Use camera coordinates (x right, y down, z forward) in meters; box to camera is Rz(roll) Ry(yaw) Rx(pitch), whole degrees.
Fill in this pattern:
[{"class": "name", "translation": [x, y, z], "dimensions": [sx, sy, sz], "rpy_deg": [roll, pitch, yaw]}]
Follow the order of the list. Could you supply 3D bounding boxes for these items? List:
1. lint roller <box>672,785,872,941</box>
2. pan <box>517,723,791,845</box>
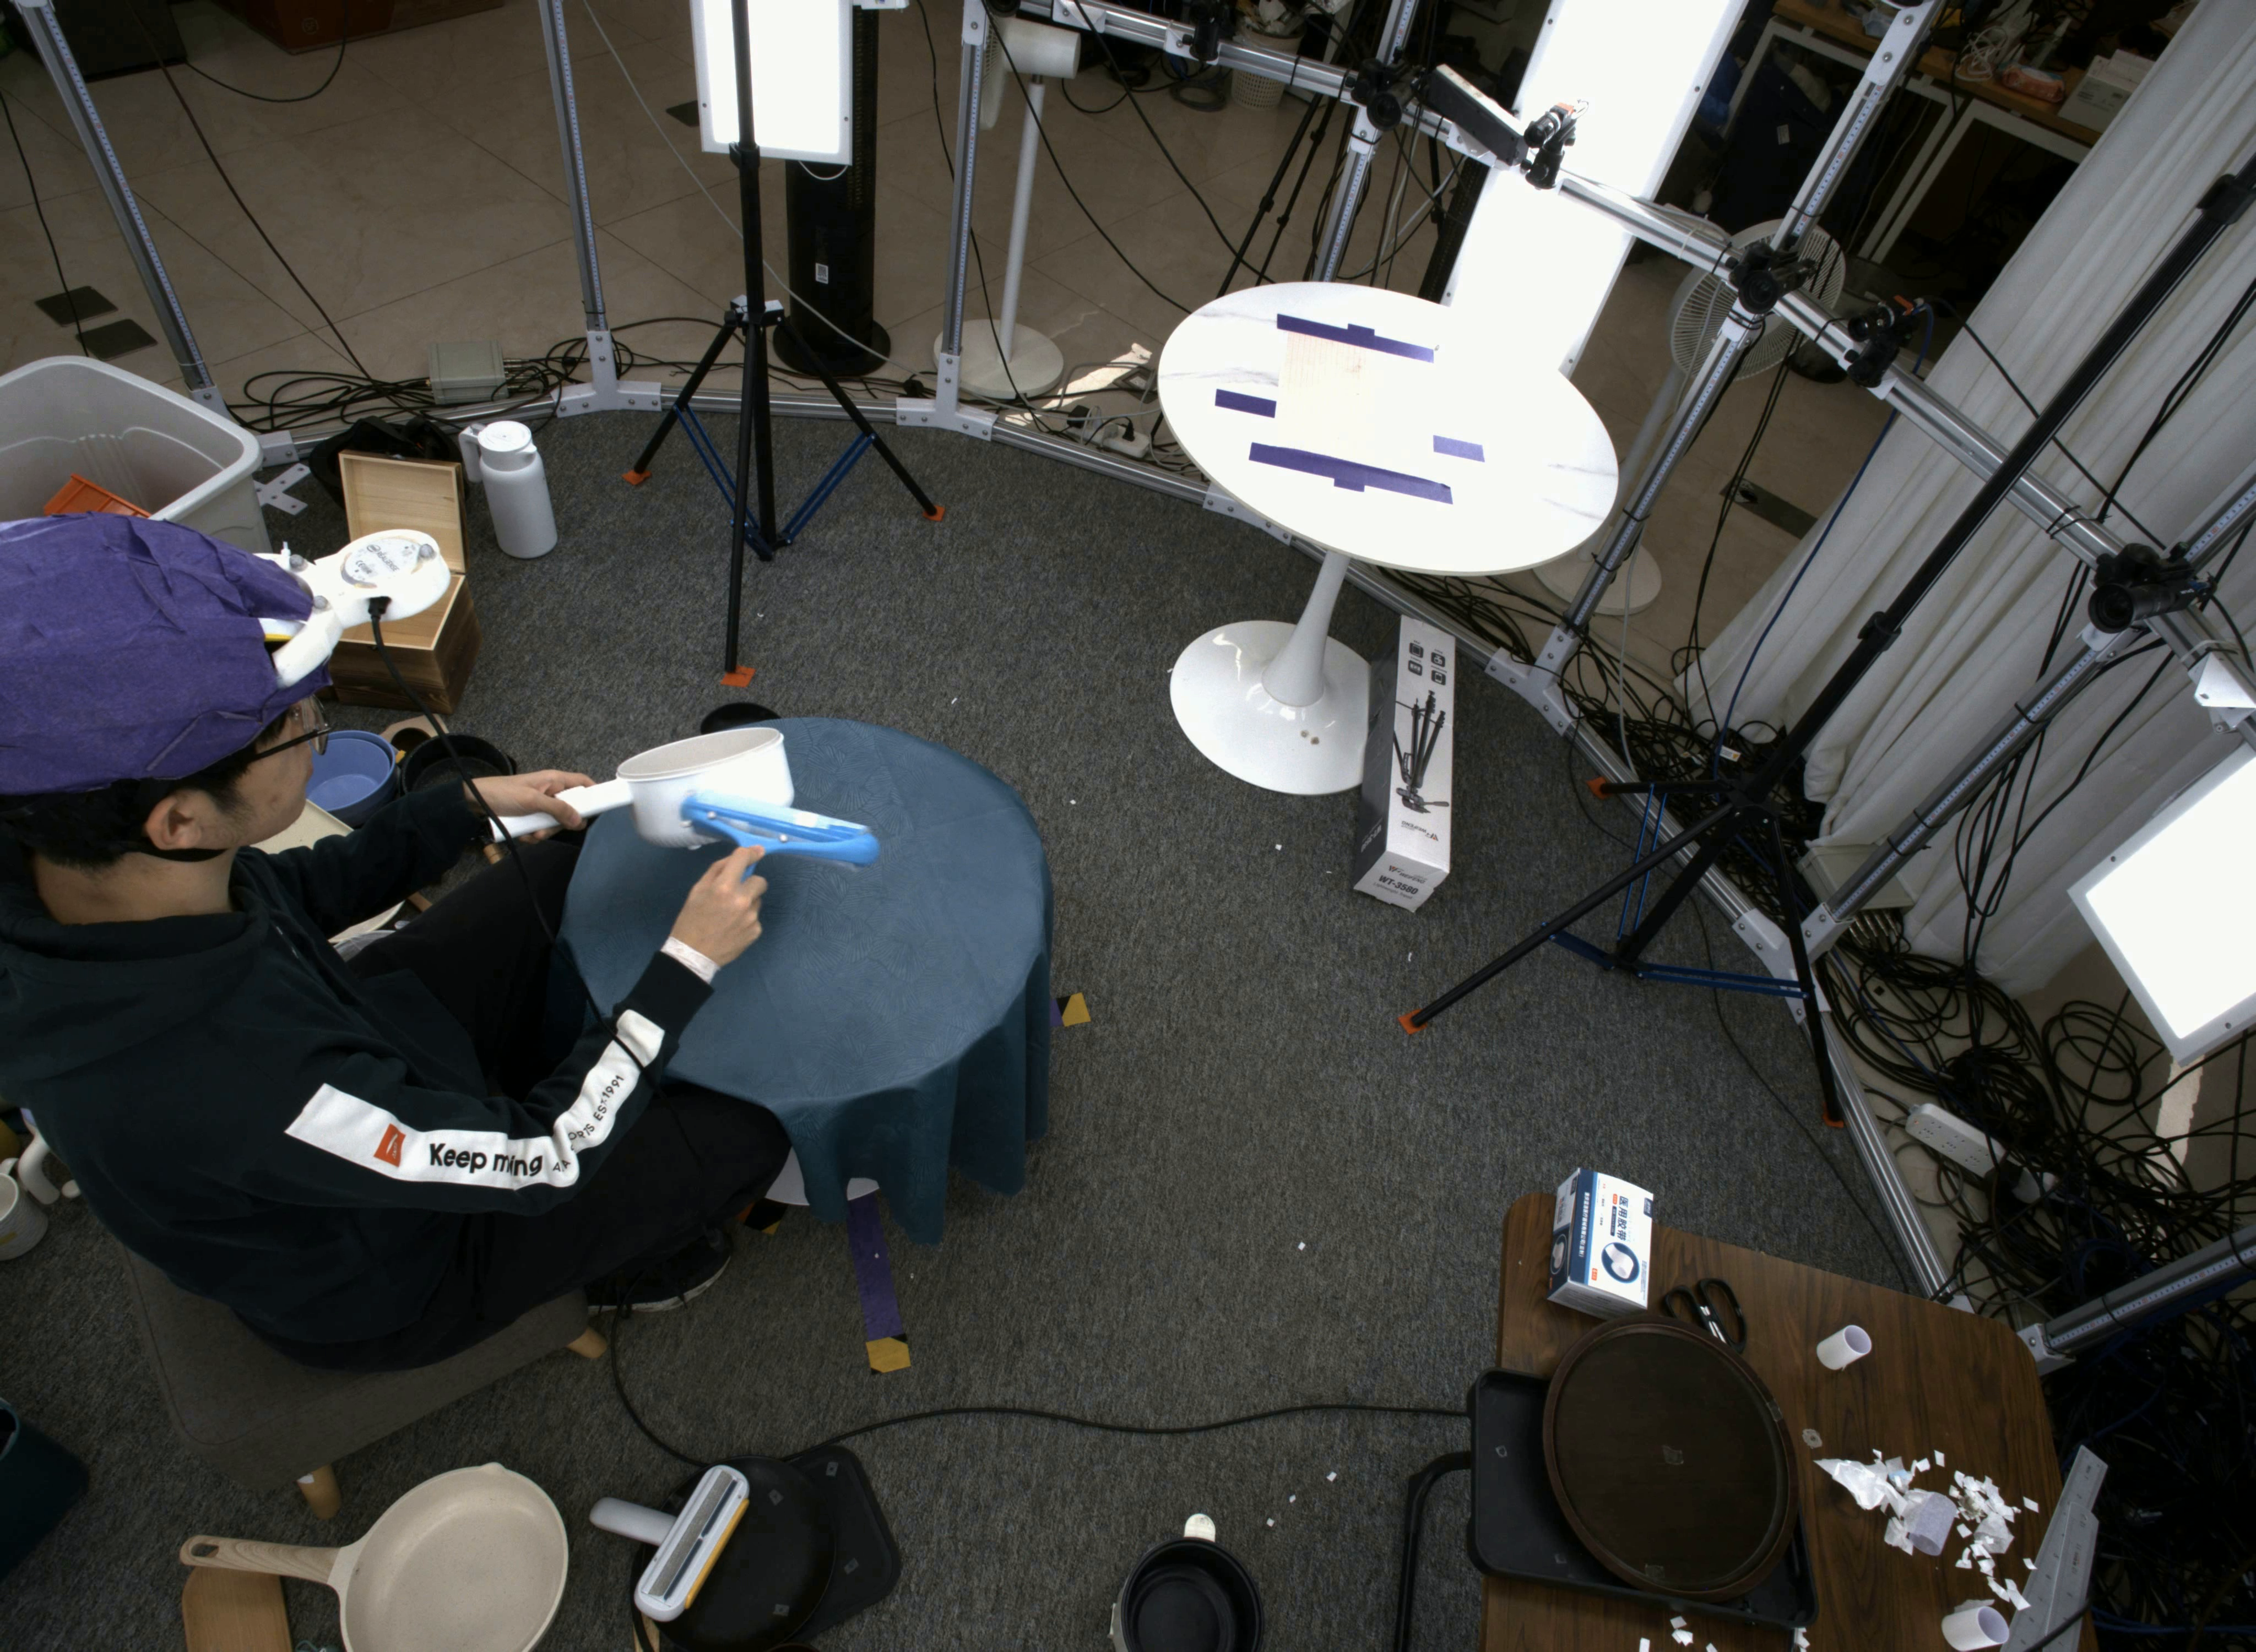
[{"class": "lint roller", "translation": [-0.405, 0.036, 1.398], "dimensions": [0.226, 0.070, 0.177], "rpy_deg": [12, 43, 0]}, {"class": "pan", "translation": [-0.571, -0.026, 1.518], "dimensions": [0.357, 0.105, 0.194], "rpy_deg": [-21, 19, -33]}]
